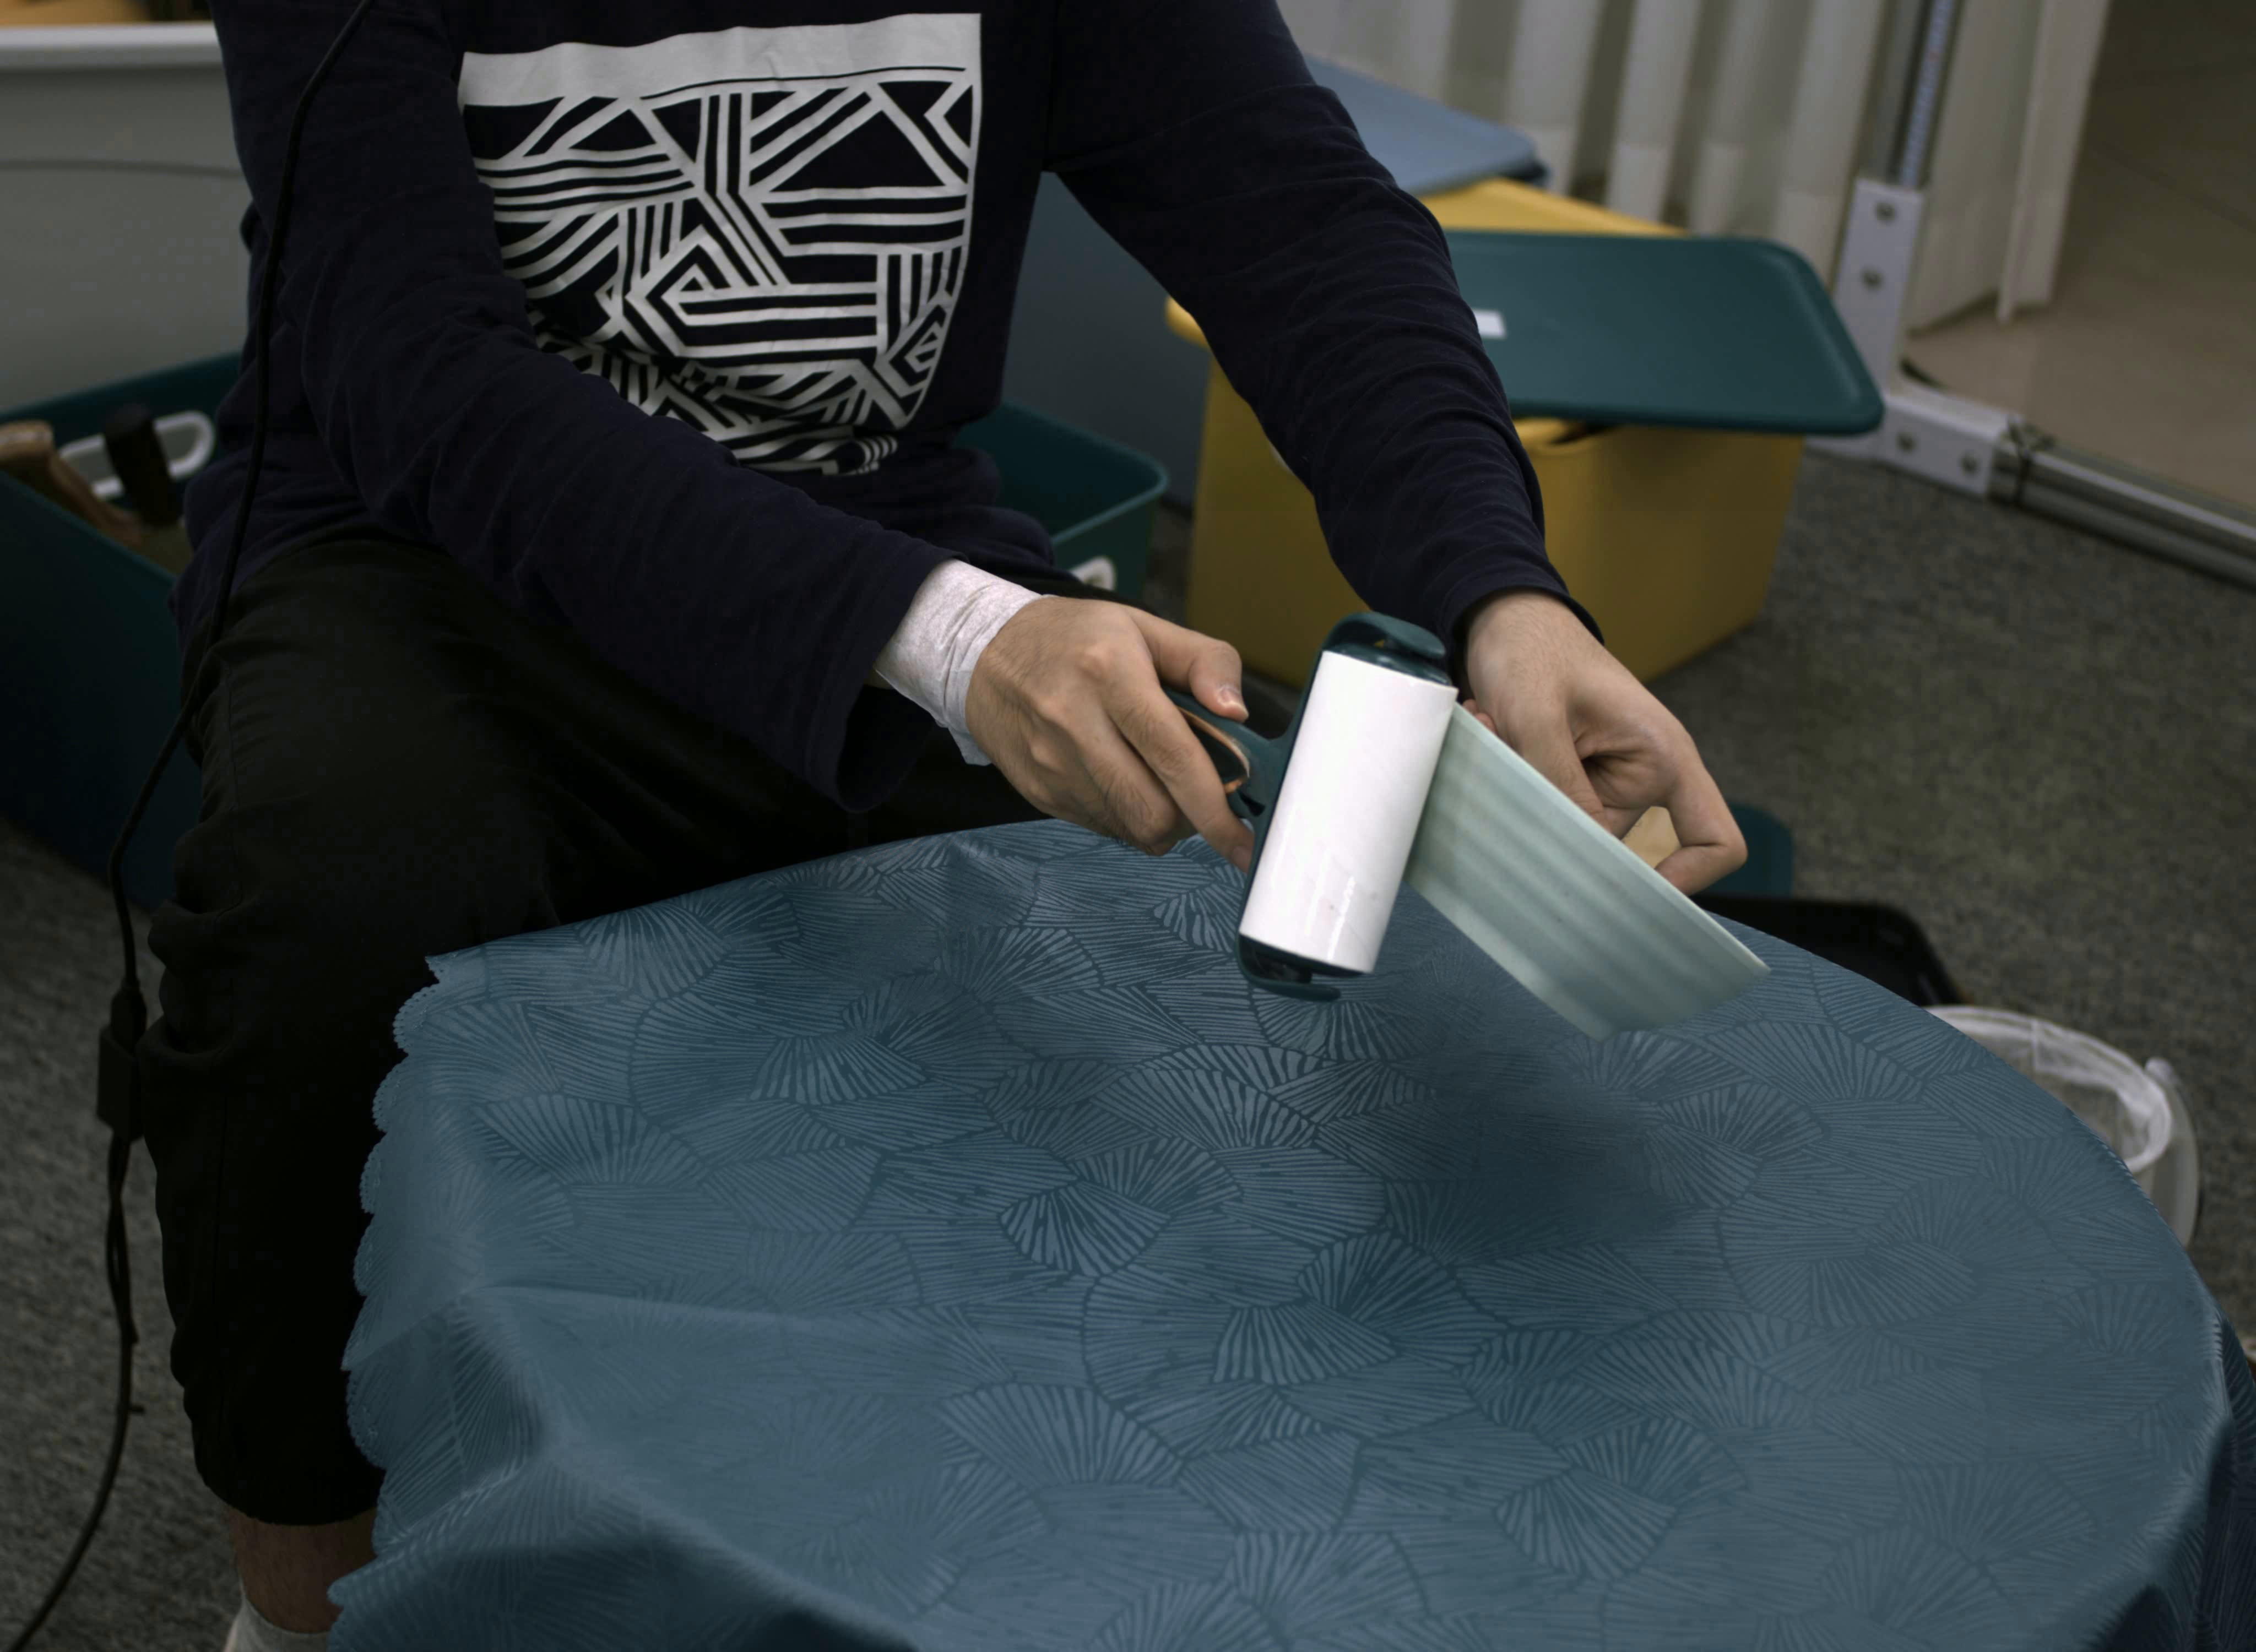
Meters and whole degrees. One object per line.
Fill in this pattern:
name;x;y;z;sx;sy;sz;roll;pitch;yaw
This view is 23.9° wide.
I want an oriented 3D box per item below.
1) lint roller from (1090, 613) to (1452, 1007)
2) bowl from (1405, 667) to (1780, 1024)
lint roller;0.030;-0.020;1.822;0.048;0.134;0.181;15;3;-41
bowl;0.148;0.017;1.810;0.151;0.058;0.152;41;14;-13
